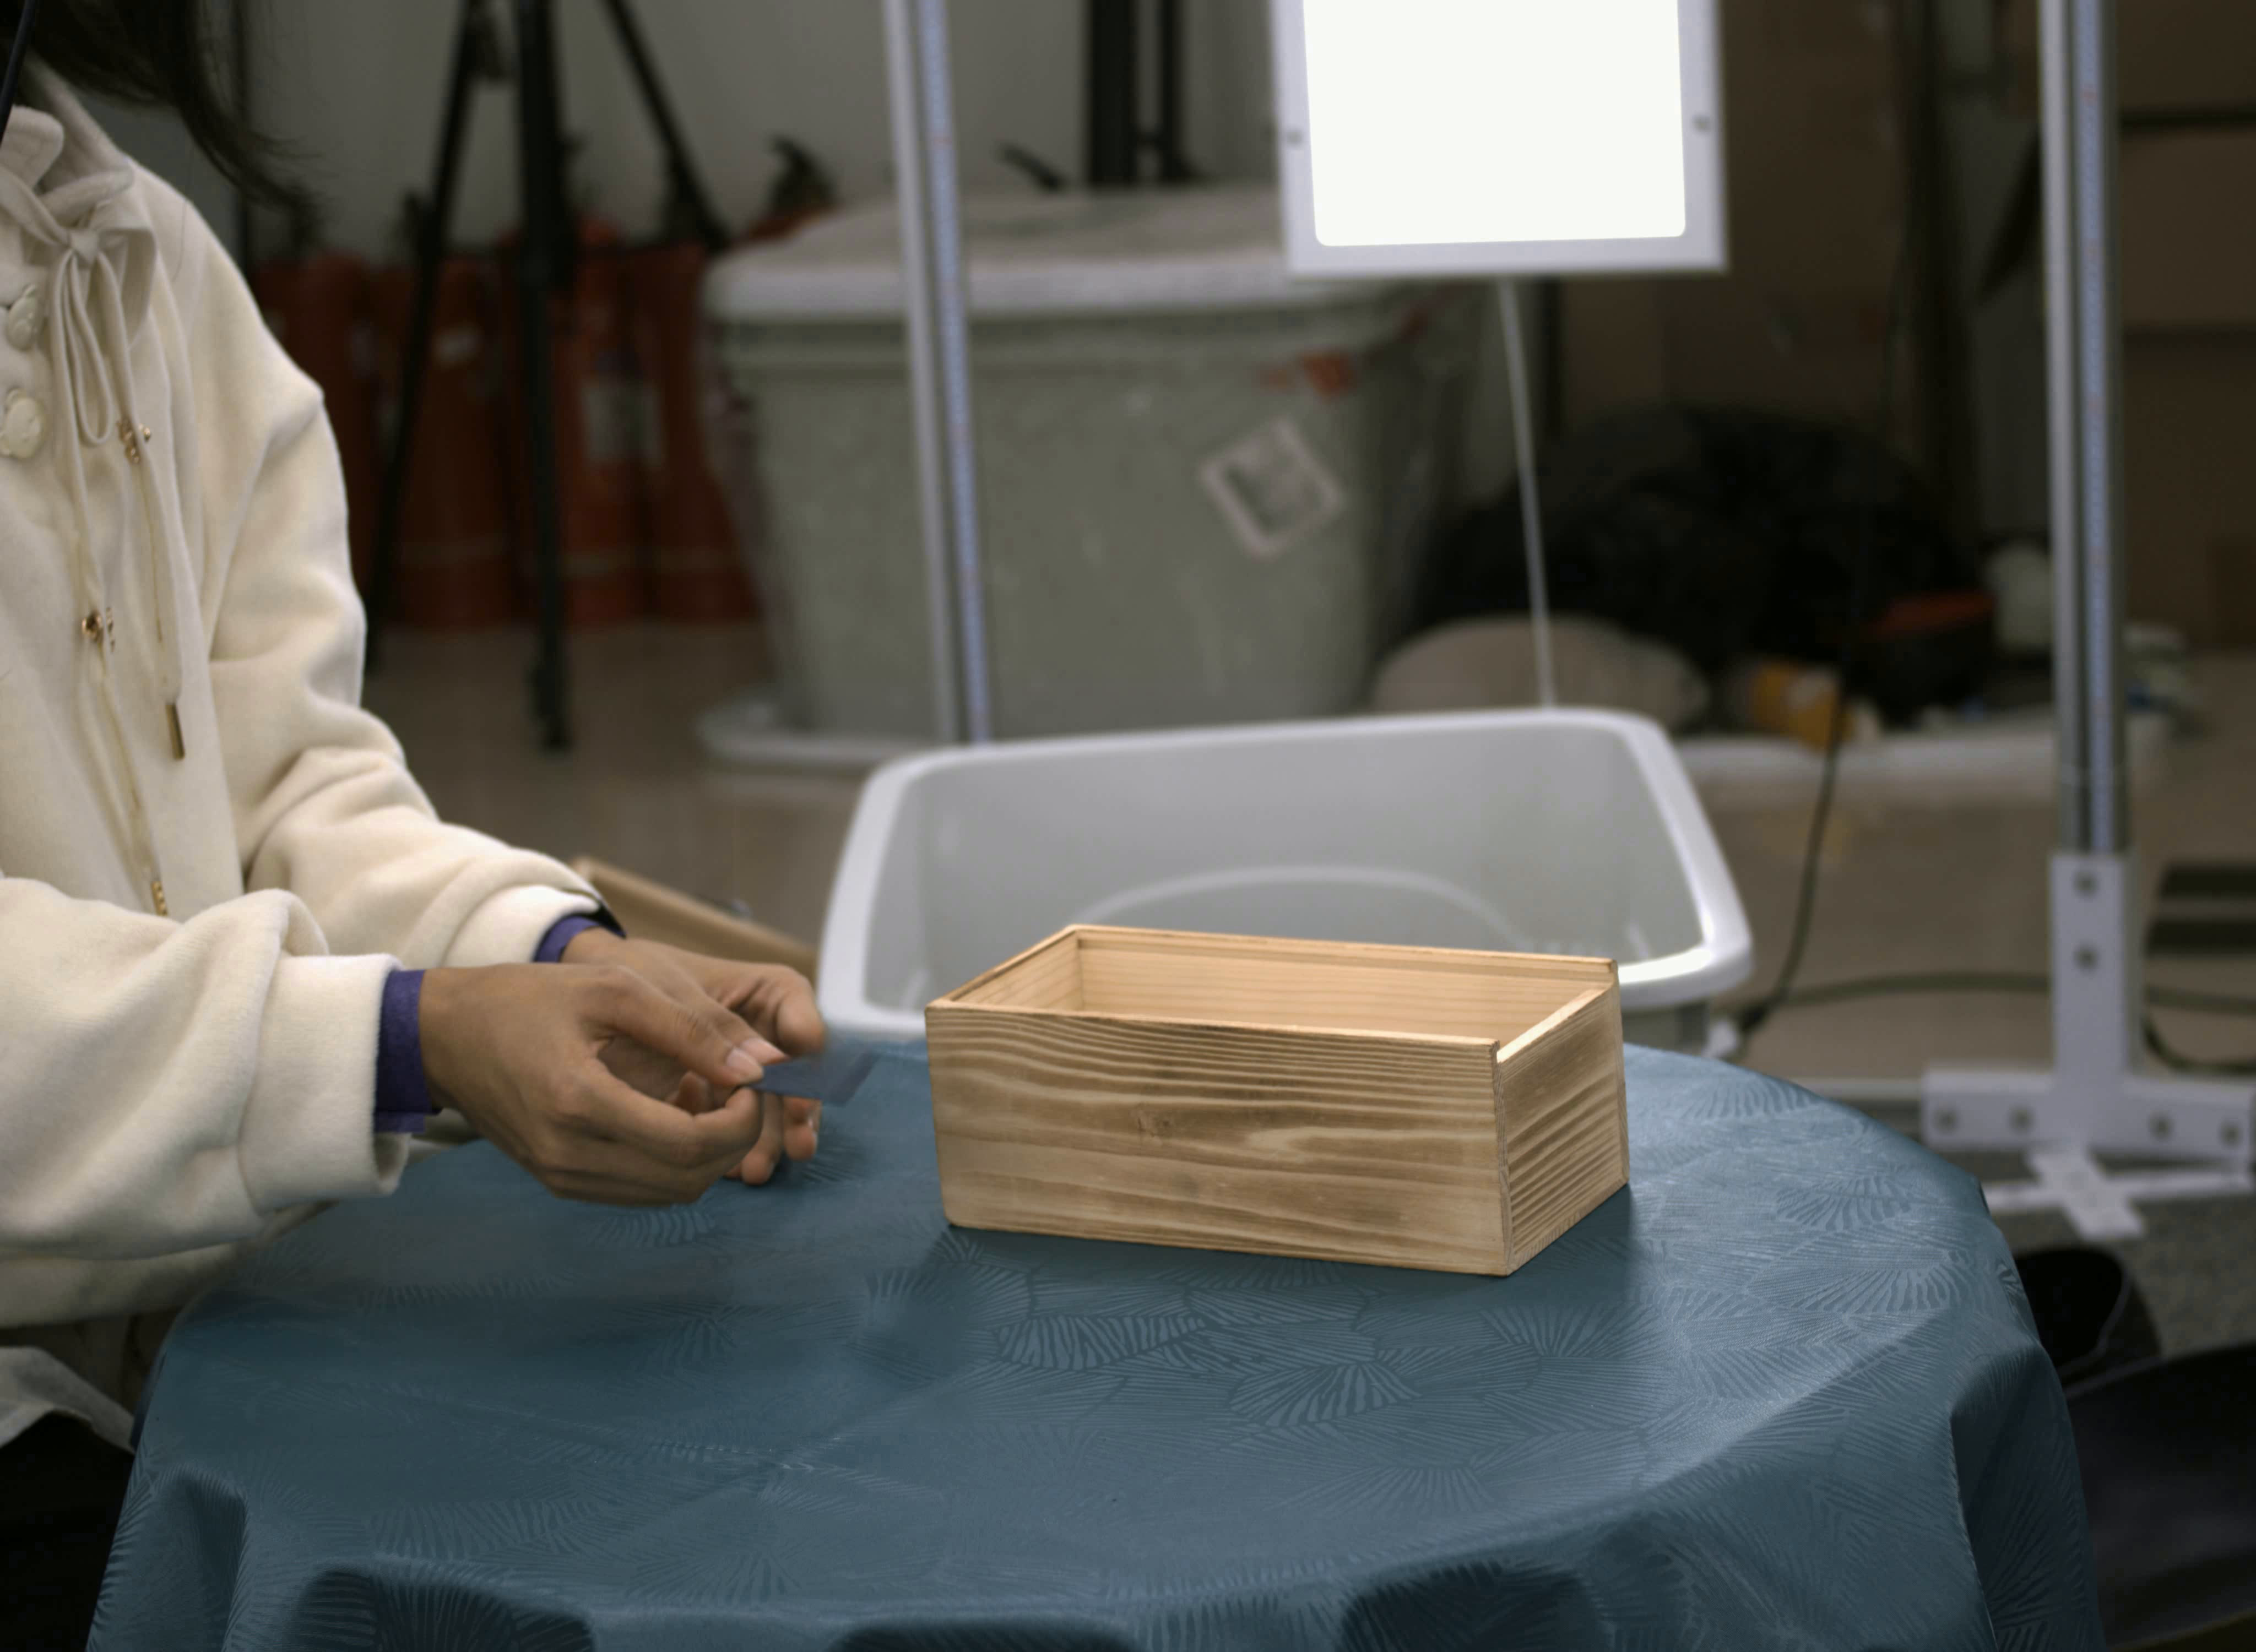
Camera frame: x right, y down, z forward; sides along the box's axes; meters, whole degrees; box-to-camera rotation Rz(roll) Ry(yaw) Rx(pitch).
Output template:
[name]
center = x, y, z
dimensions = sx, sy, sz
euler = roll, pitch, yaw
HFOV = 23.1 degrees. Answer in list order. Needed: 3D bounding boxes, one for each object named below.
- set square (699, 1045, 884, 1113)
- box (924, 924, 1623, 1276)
[set square]
center = -0.122, 0.083, 1.812
dimensions = 0.061, 0.006, 0.130
euler = -5, 6, 12
[box]
center = 0.050, 0.090, 1.860
dimensions = 0.215, 0.080, 0.105
euler = 3, 15, 29
